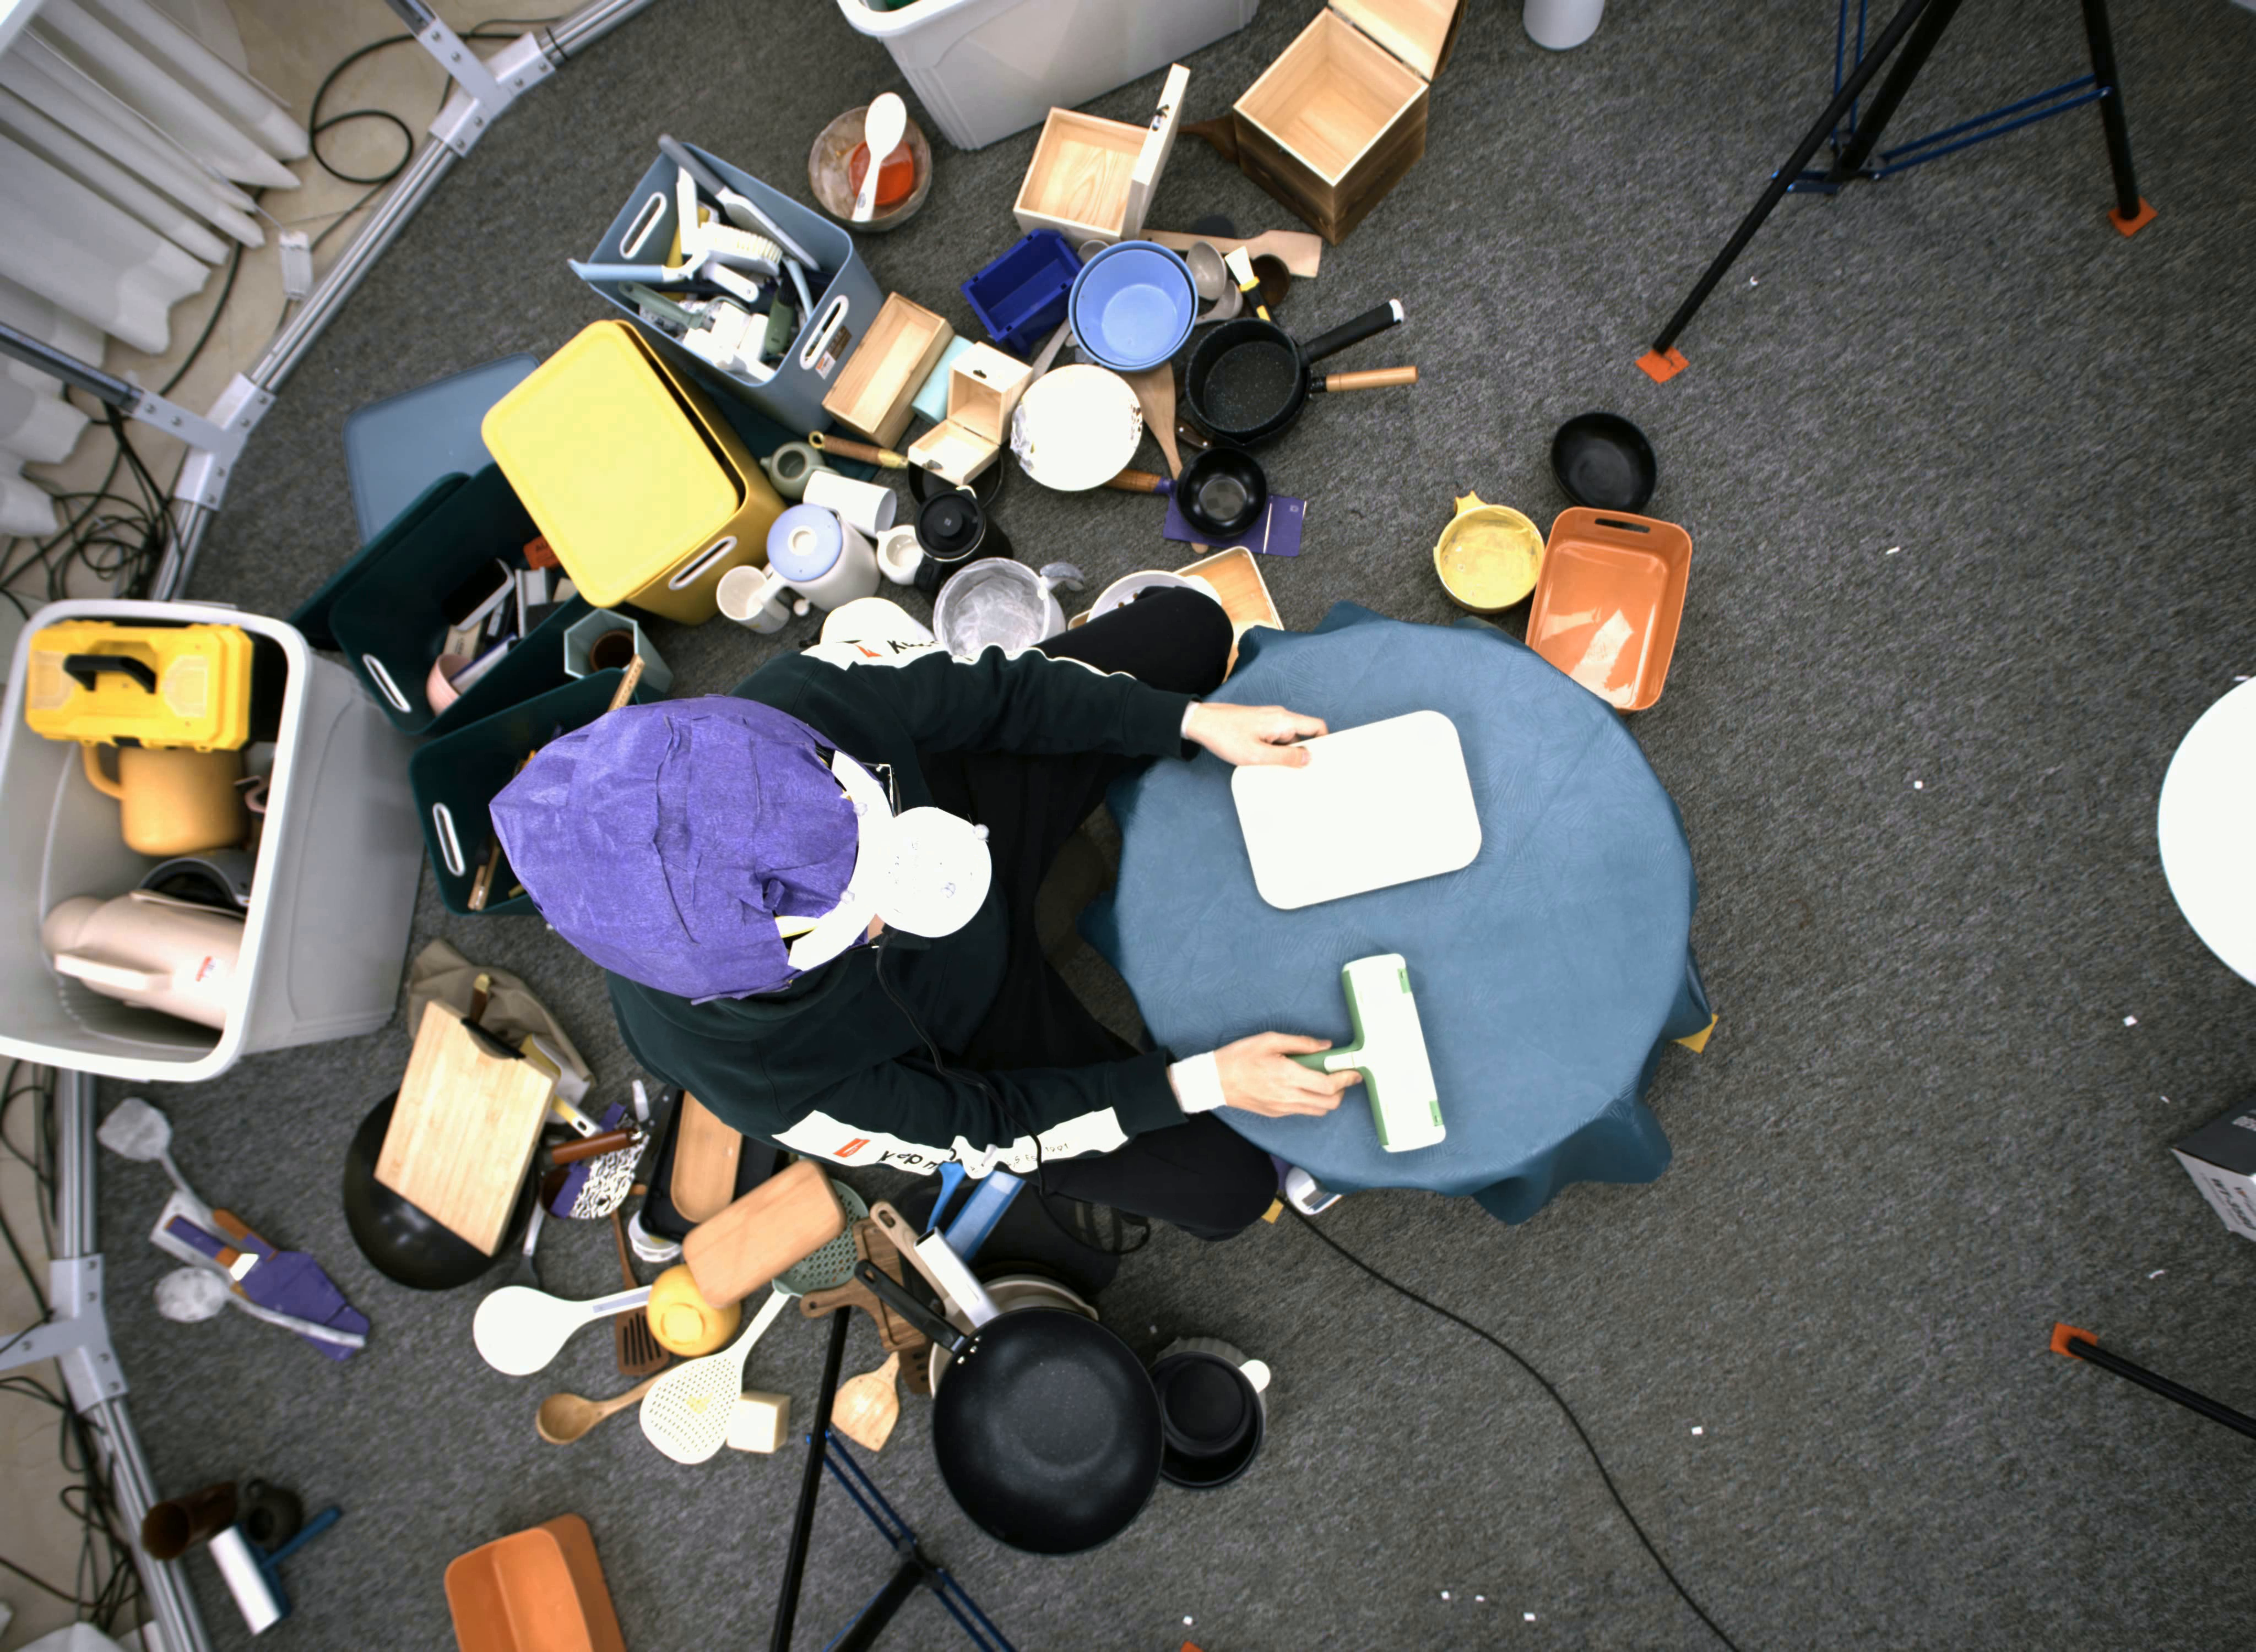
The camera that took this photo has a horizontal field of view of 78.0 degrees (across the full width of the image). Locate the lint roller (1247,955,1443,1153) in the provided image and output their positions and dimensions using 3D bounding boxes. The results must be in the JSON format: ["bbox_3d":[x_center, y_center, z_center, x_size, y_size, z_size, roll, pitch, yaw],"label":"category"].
[{"bbox_3d":[0.211,0.241,1.409,0.184,0.082,0.197,-12,81,5],"label":"lint roller"}]

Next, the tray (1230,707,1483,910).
[{"bbox_3d":[0.237,-0.019,1.433,0.241,0.017,0.172,-15,99,11],"label":"tray"}]
